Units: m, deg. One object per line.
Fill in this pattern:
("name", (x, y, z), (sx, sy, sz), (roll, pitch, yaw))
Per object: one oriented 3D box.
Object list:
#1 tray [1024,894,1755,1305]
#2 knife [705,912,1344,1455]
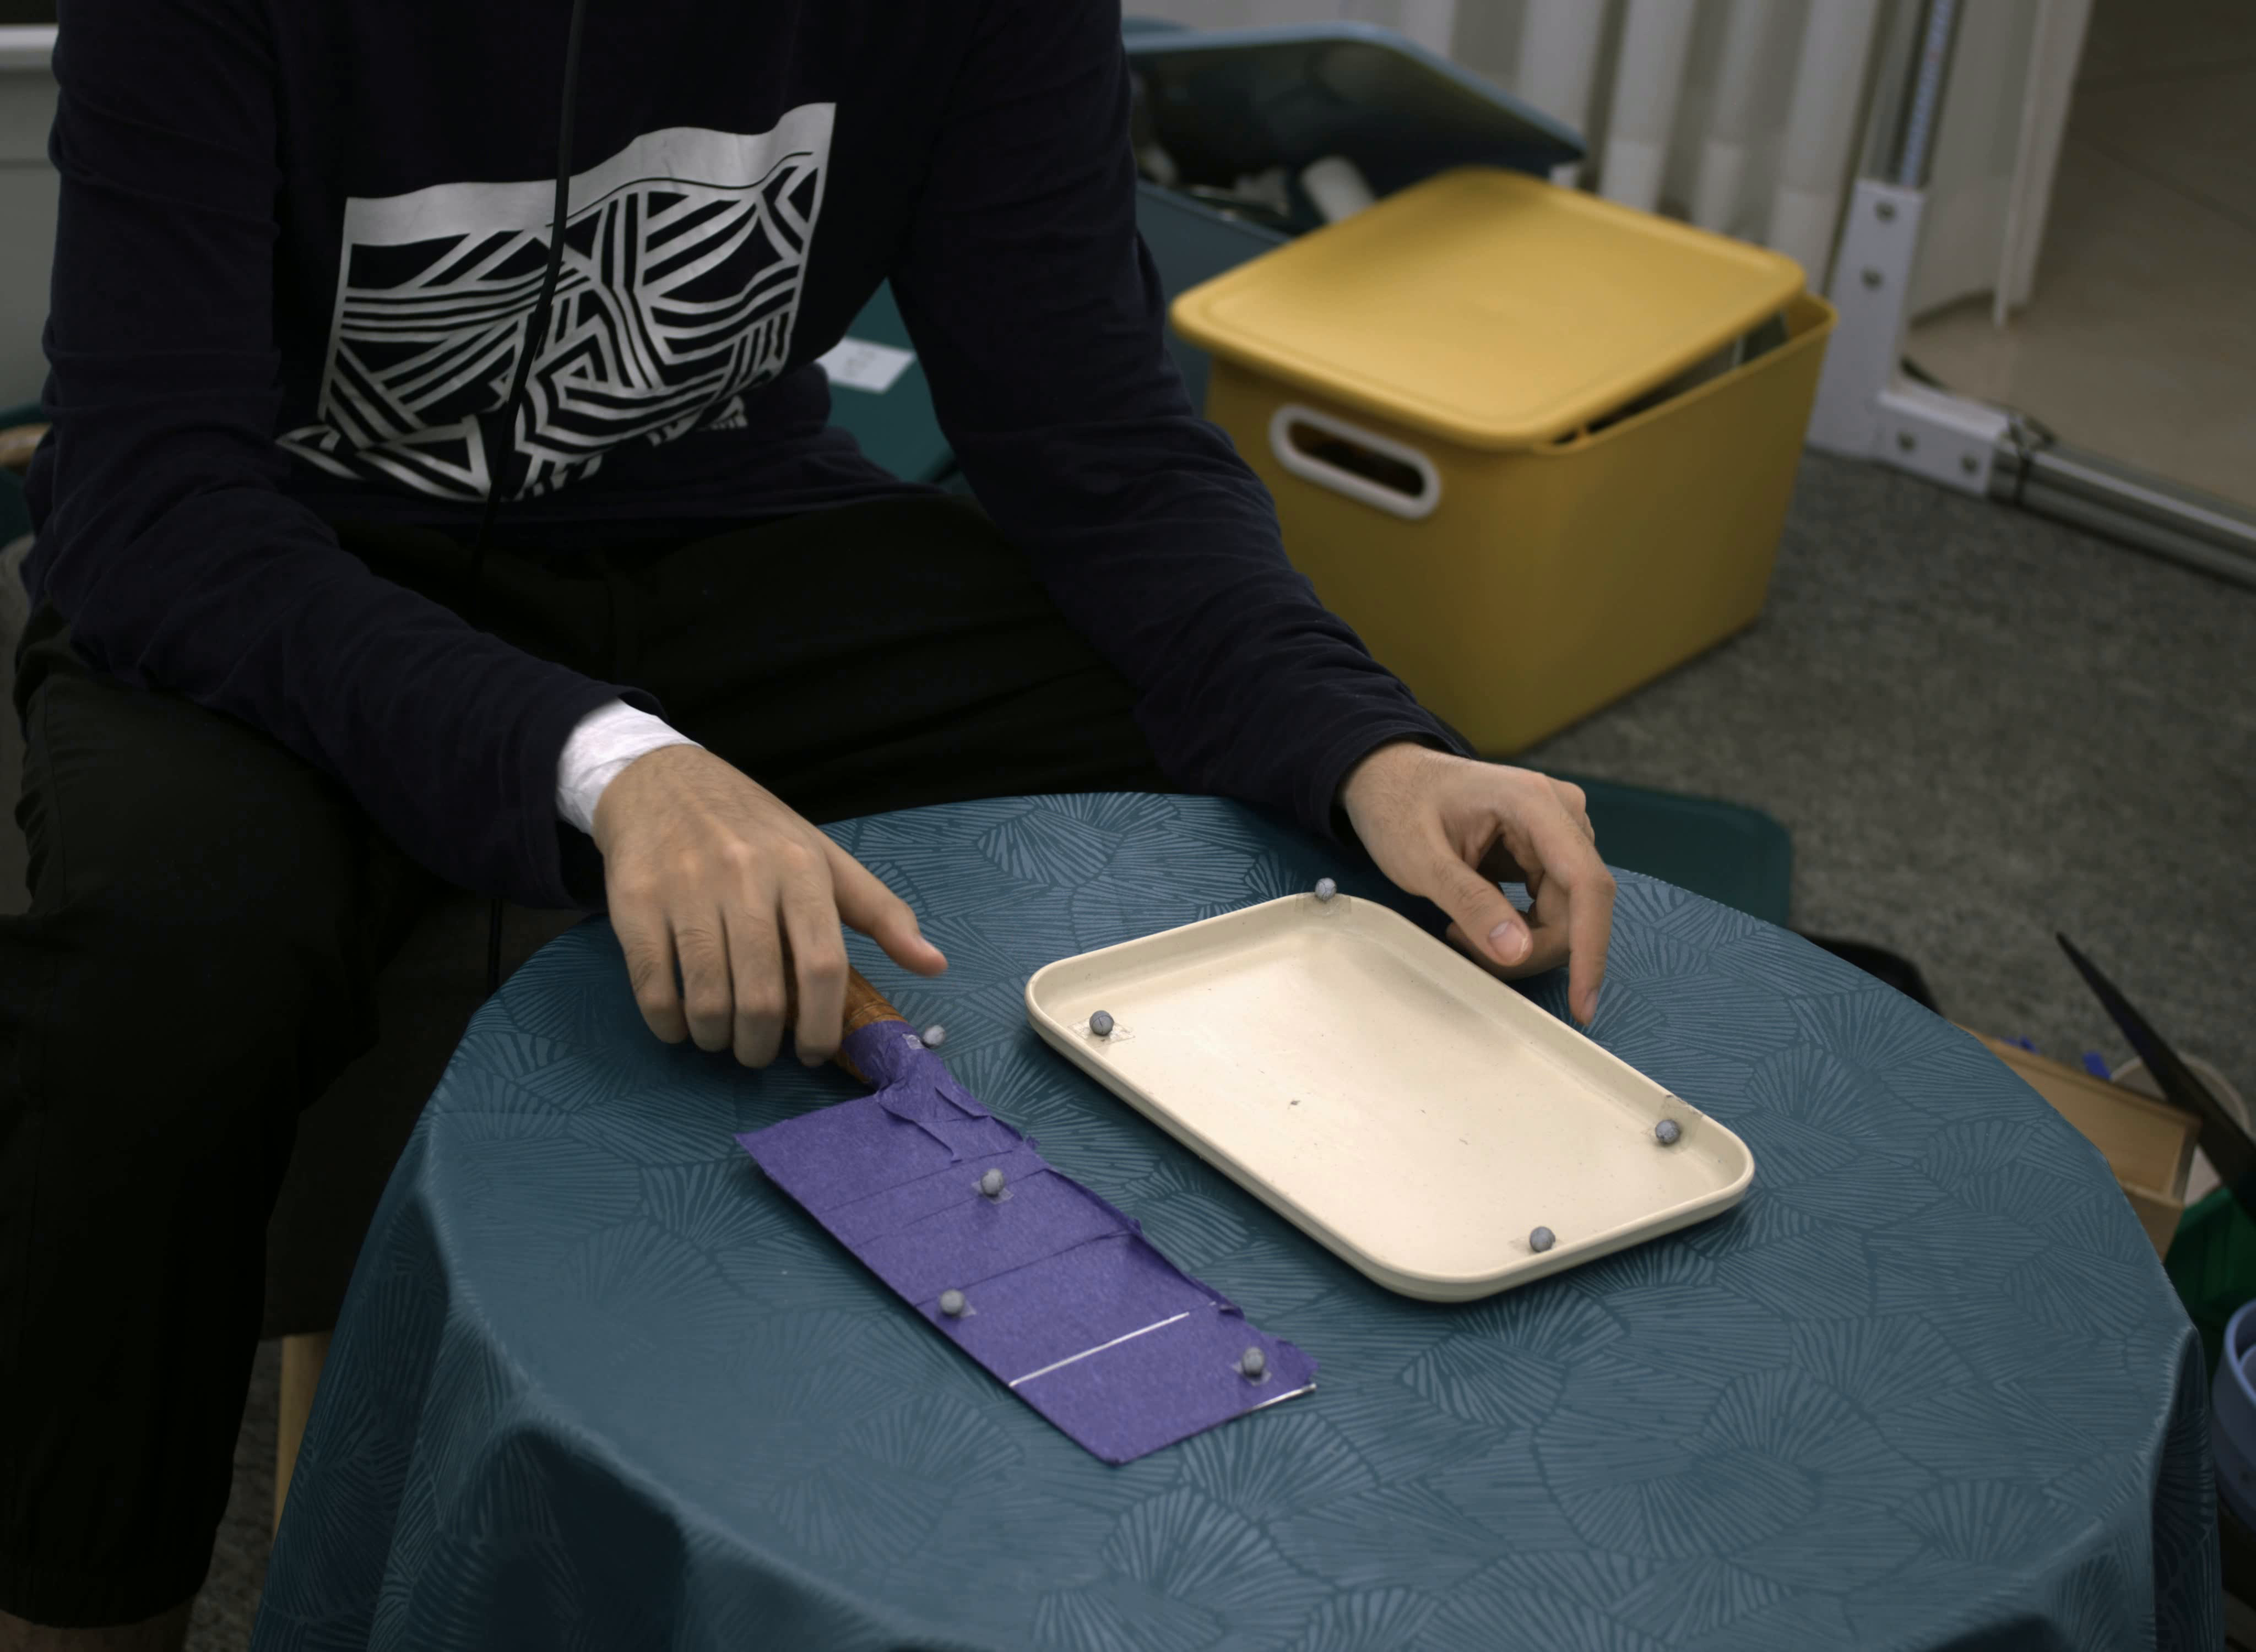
("tray", (0.089, 0.094, 1.865), (0.170, 0.017, 0.242), (-15, 34, -35))
("knife", (-0.065, 0.115, 1.778), (0.103, 0.032, 0.318), (-15, 34, -37))
